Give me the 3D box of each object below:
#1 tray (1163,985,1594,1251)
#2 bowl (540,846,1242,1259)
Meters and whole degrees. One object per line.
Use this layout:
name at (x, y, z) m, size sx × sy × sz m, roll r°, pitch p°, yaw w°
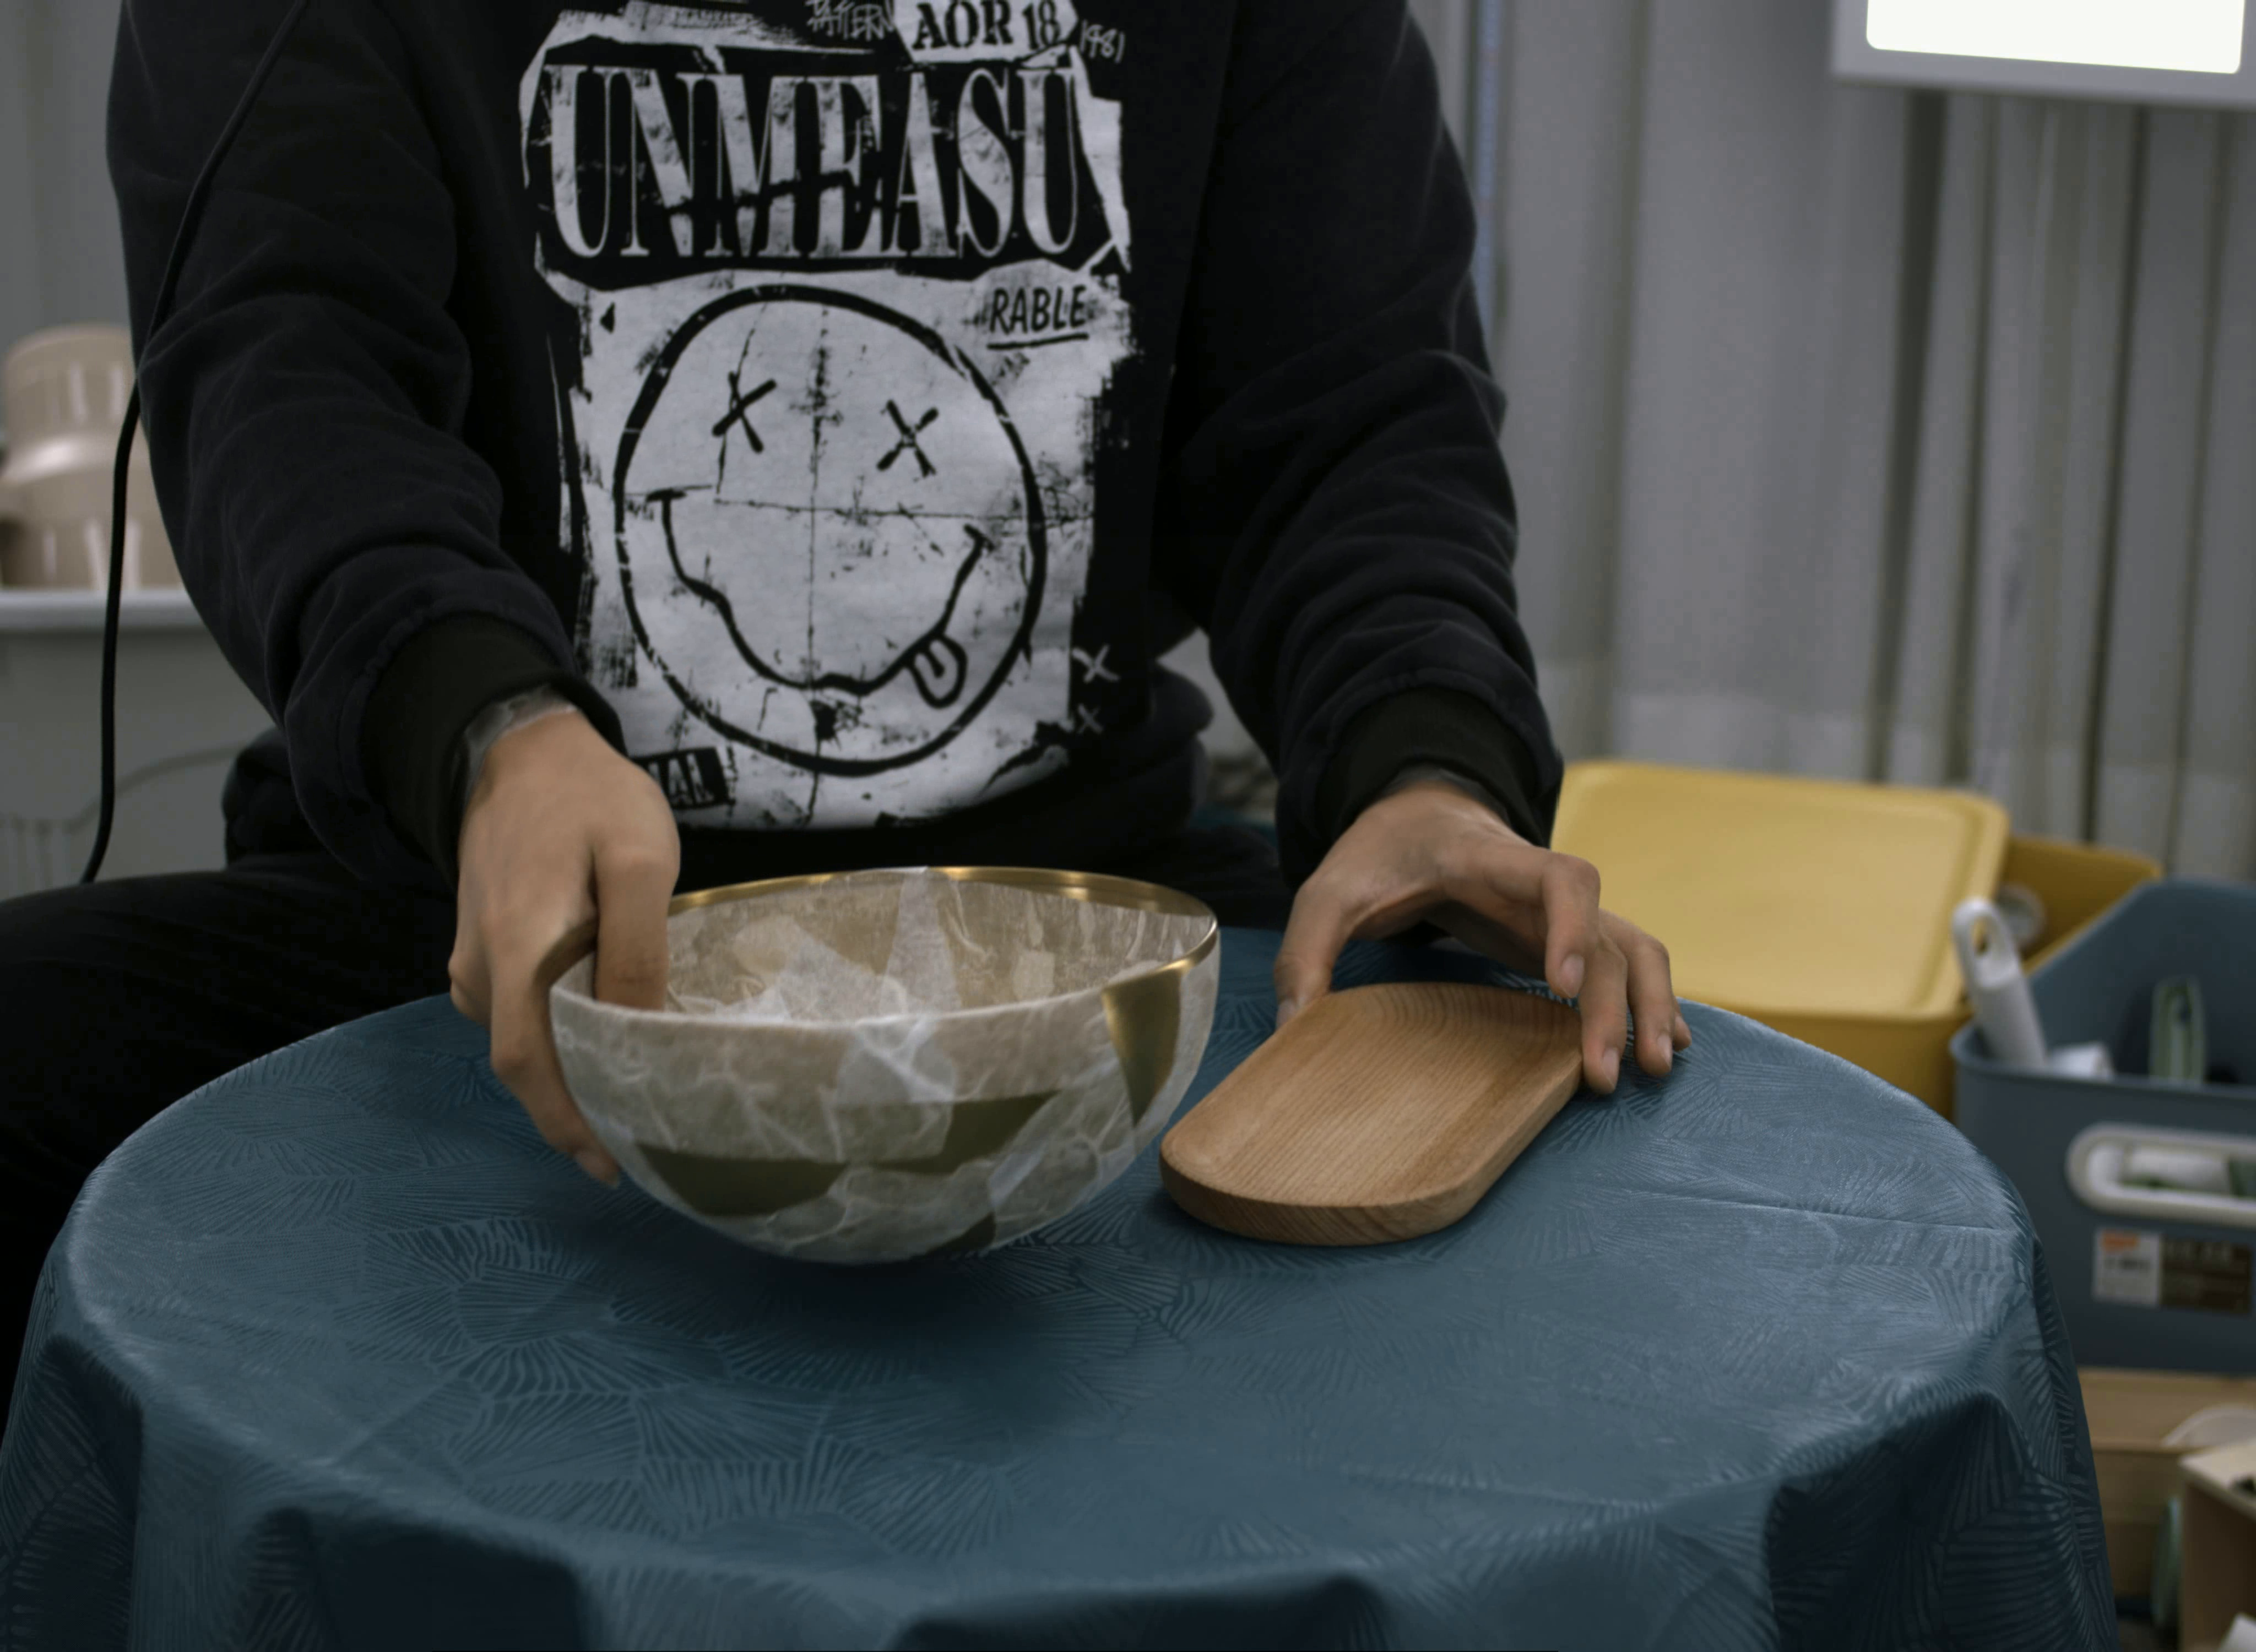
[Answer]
tray at (0.082, 0.091, 1.677) m, size 0.101 × 0.020 × 0.231 m, roll 6°, pitch 18°, yaw 18°
bowl at (-0.066, 0.073, 1.549) m, size 0.214 × 0.095 × 0.214 m, roll -3°, pitch 12°, yaw 1°
